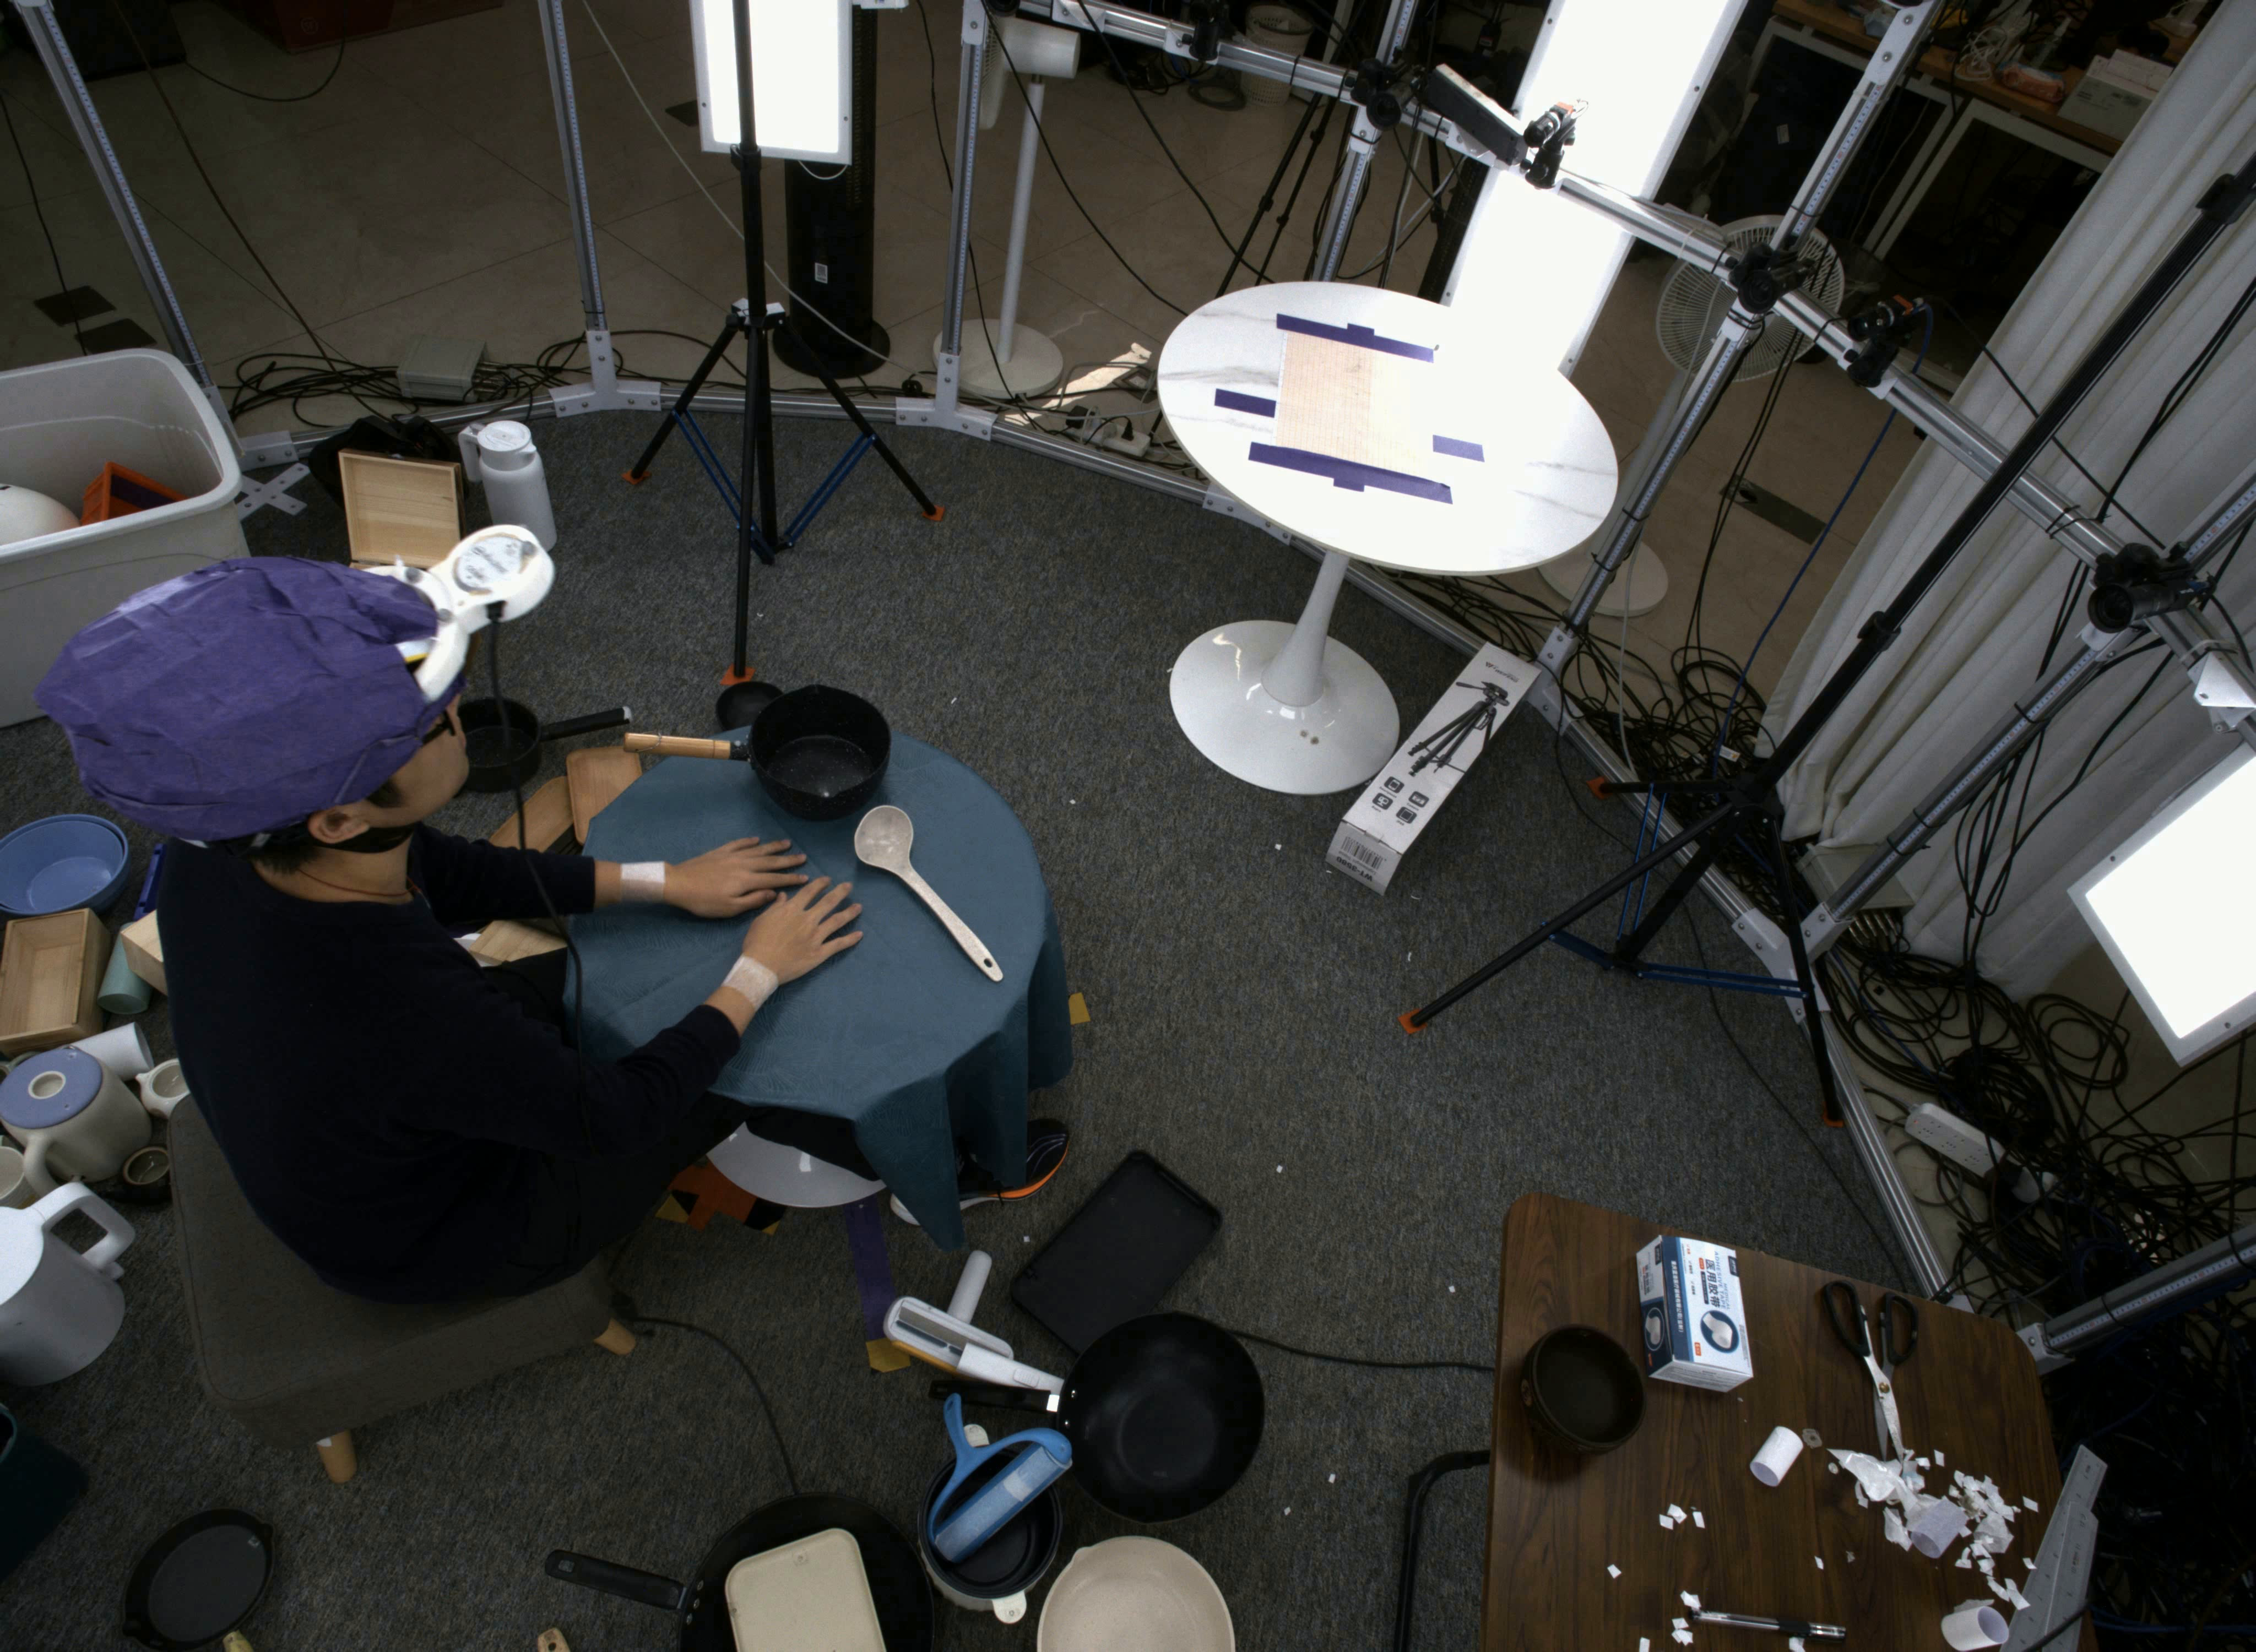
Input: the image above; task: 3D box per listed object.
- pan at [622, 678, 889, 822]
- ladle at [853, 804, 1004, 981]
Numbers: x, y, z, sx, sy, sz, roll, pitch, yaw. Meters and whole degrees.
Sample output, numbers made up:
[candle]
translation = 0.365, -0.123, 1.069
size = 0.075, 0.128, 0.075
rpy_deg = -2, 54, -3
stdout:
[pan]
translation = -0.486, -0.092, 1.696
size = 0.344, 0.110, 0.203
rpy_deg = -5, 56, -20
[ladle]
translation = -0.245, 0.082, 1.657
size = 0.269, 0.070, 0.090
rpy_deg = 43, 44, 17
